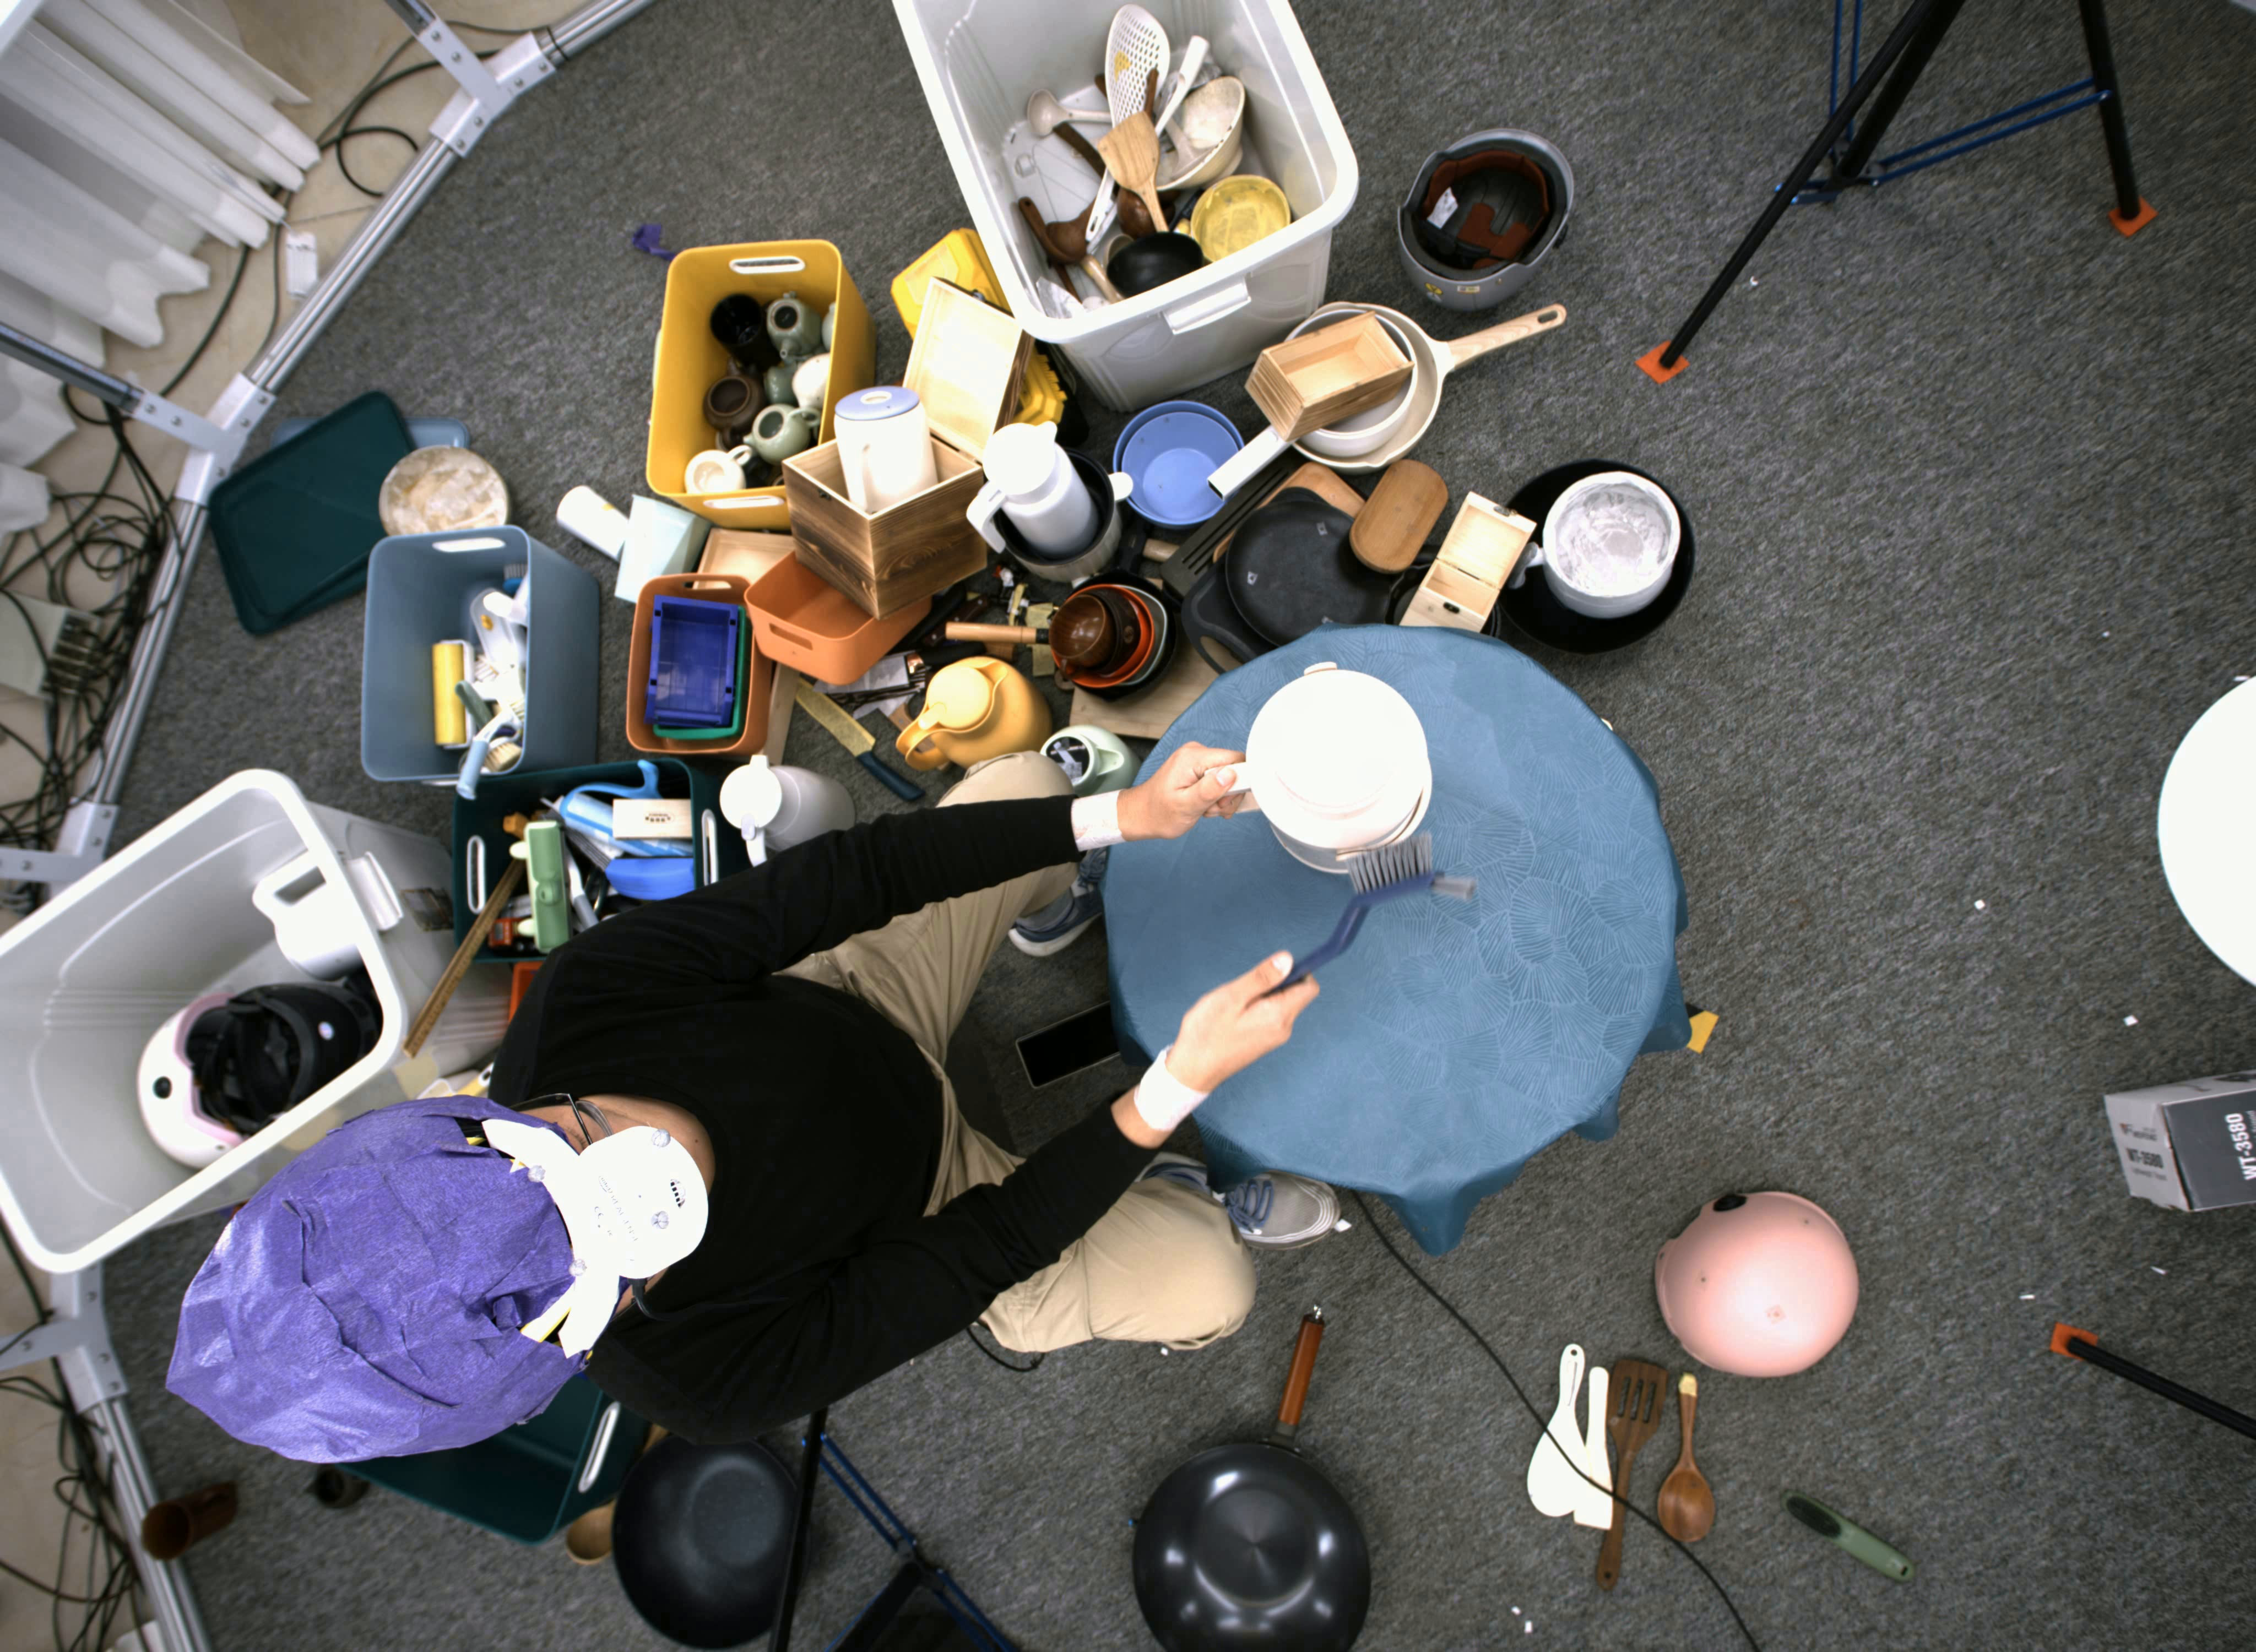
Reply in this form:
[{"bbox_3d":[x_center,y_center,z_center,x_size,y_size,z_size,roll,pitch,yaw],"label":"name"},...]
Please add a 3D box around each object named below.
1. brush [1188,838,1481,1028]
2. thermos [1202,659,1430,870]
[{"bbox_3d":[0.165,0.108,1.165,0.278,0.033,0.094,-46,67,23],"label":"brush"},{"bbox_3d":[0.180,-0.050,1.282,0.208,0.406,0.174,-10,84,8],"label":"thermos"}]
